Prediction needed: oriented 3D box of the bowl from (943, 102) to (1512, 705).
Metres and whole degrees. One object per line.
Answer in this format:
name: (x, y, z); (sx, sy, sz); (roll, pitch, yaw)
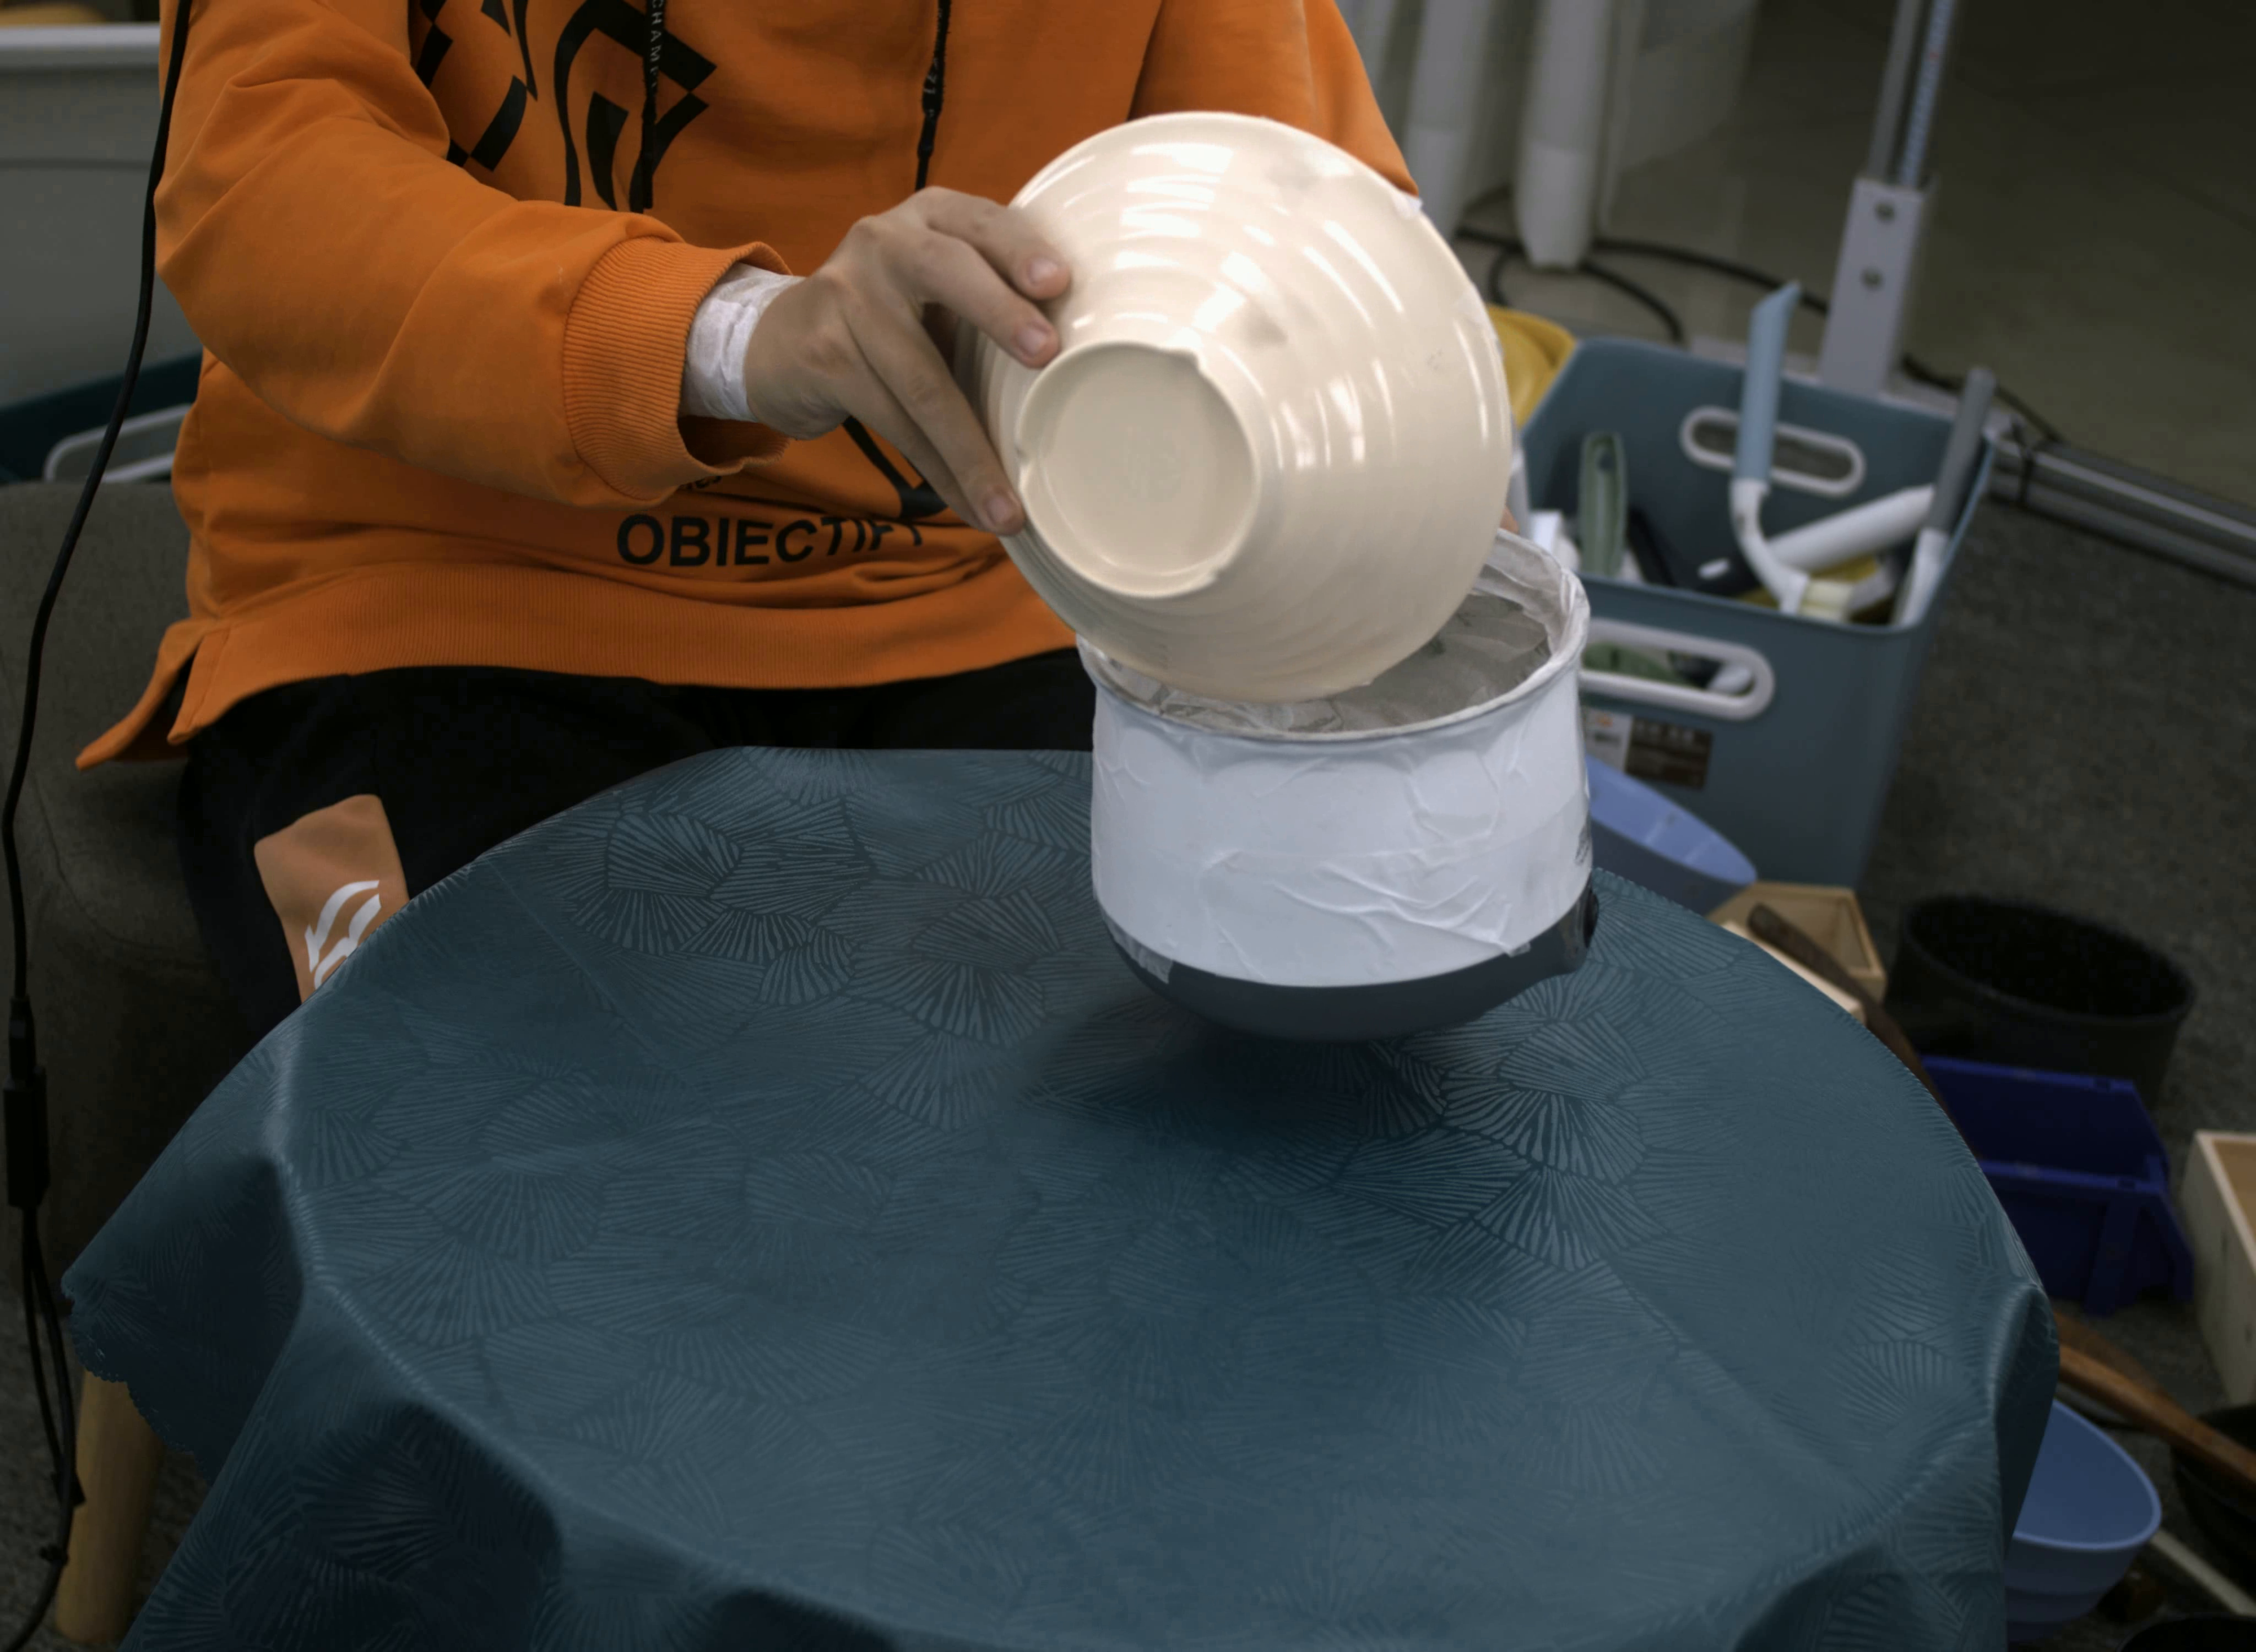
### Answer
bowl: (0.018, -0.128, 1.735); (0.204, 0.203, 0.078); (17, 22, 19)

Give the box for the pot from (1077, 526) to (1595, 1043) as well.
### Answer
pot: (0.078, -0.030, 1.881); (0.178, 0.136, 0.234); (3, 29, 11)
